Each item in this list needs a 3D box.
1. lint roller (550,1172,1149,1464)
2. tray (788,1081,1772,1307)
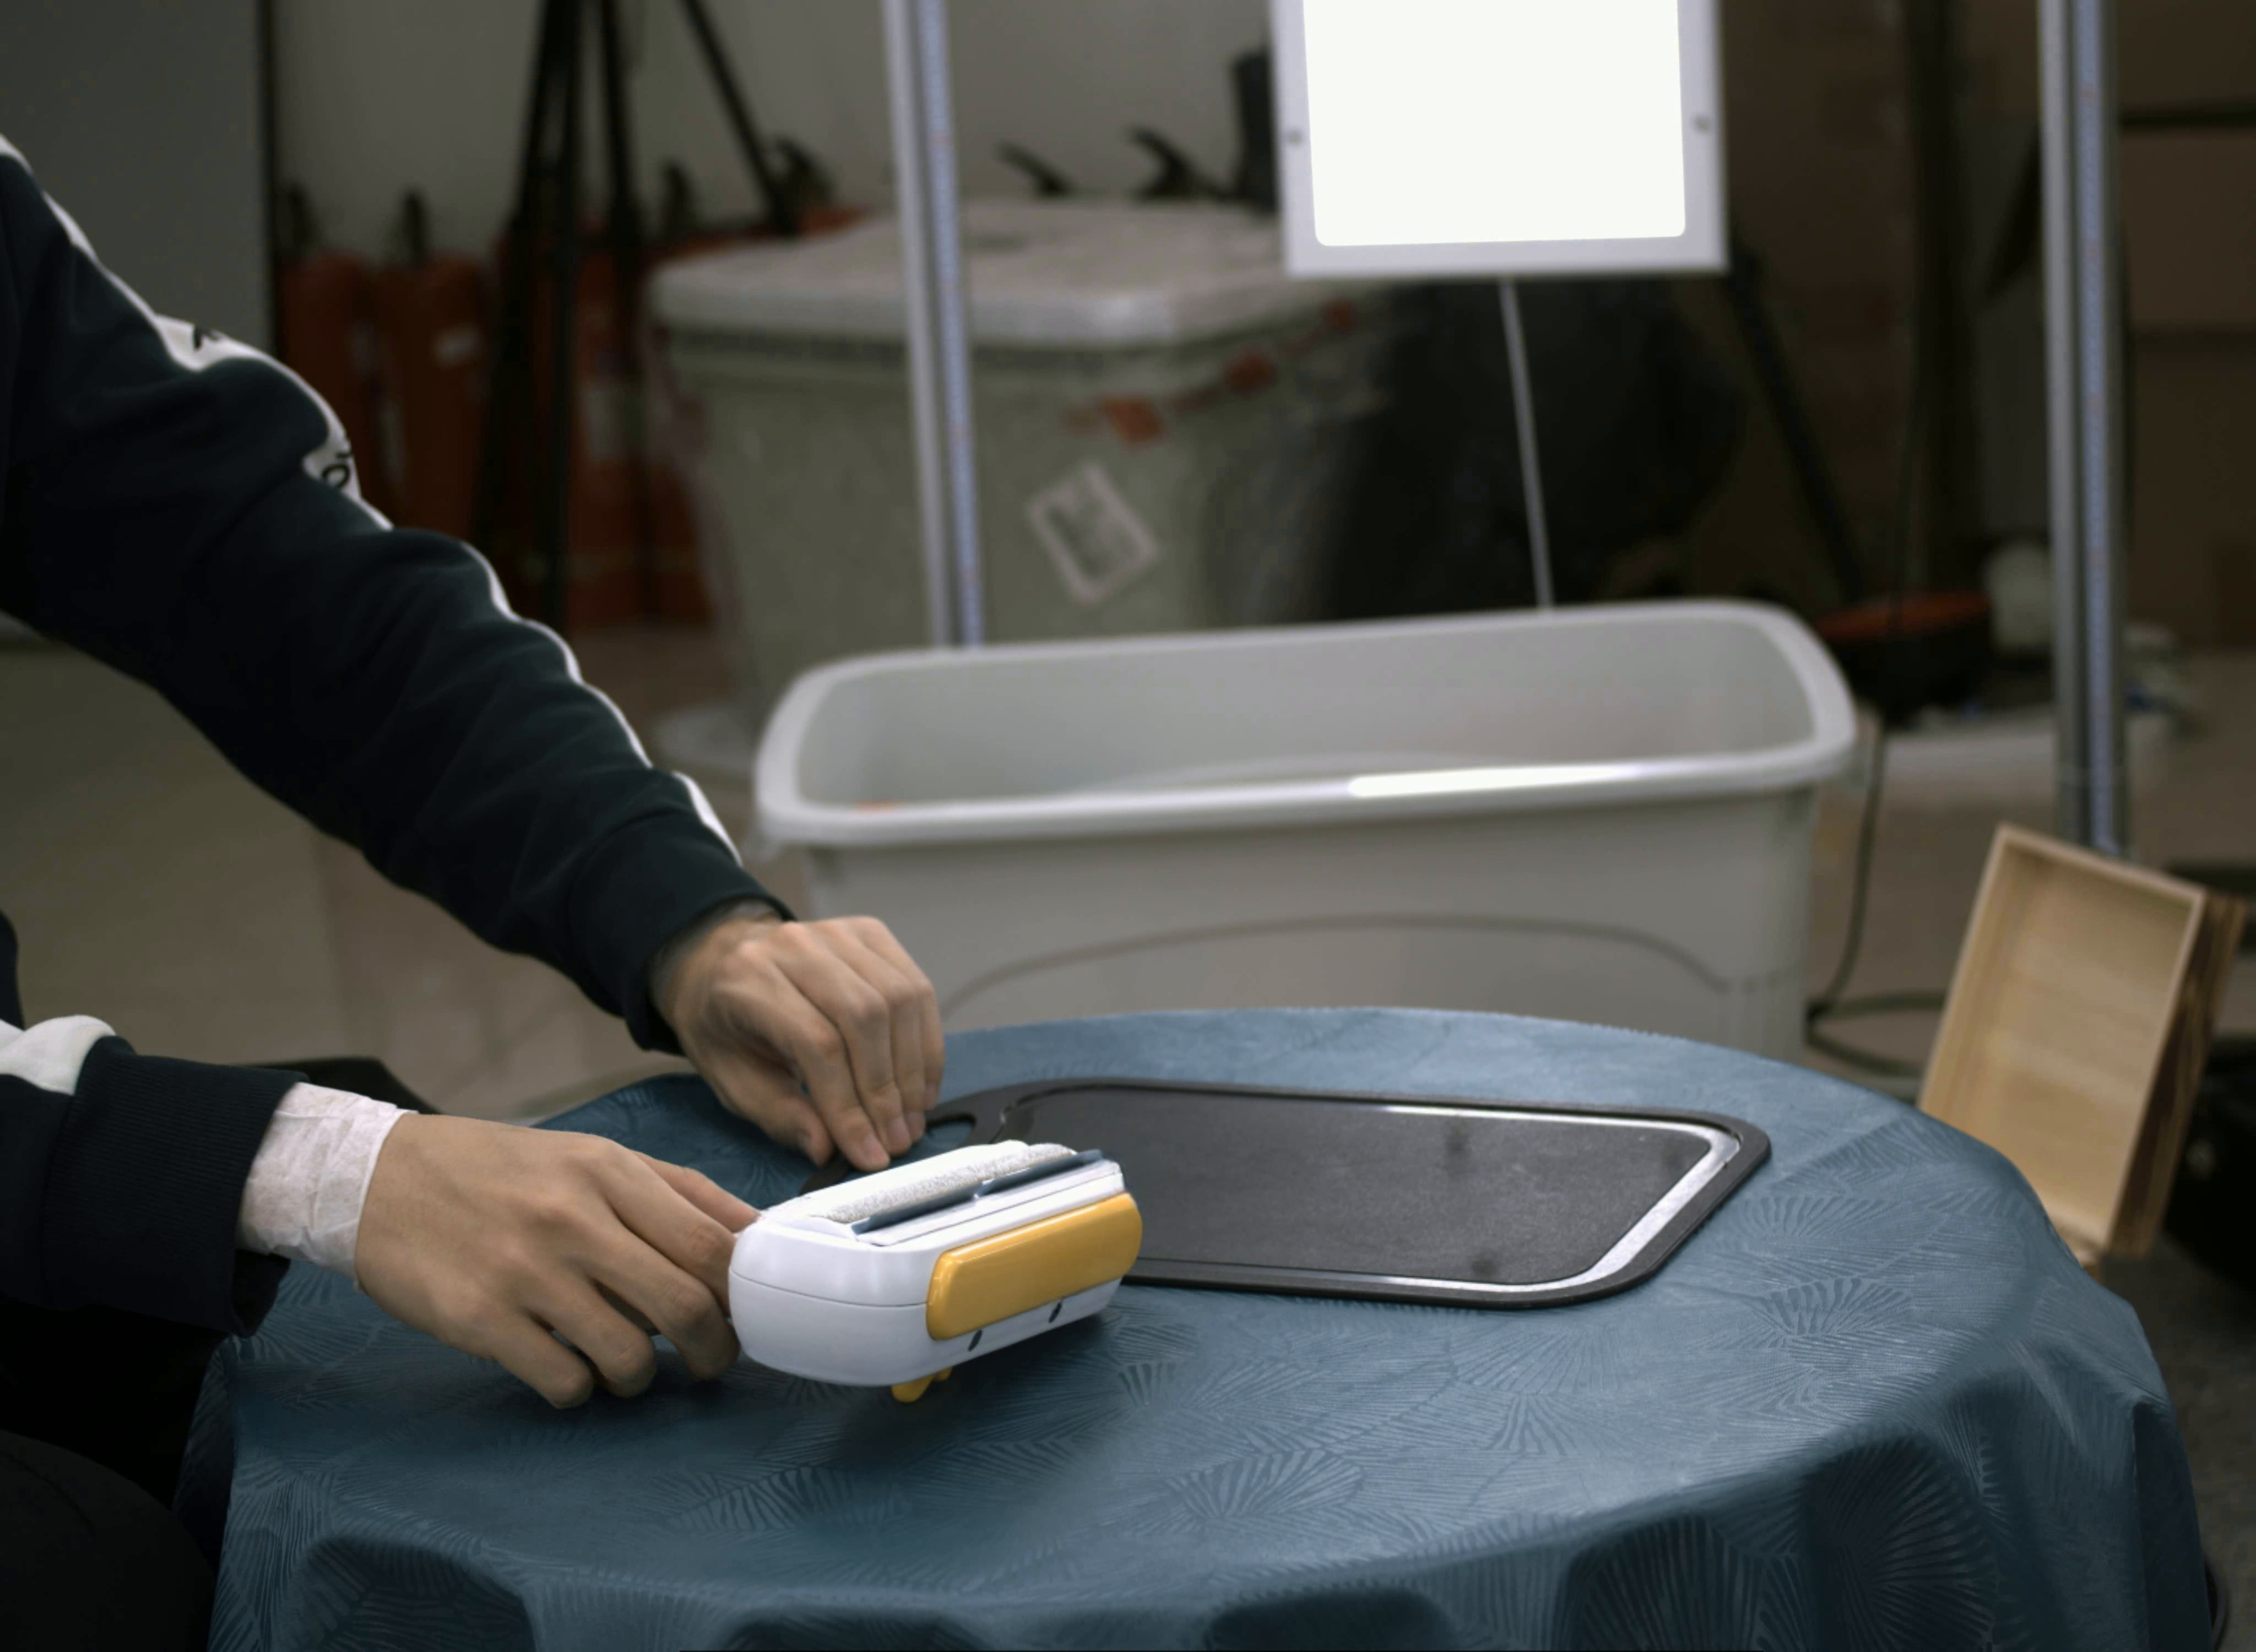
[{"bbox_3d":[-0.107,0.160,1.737,0.196,0.074,0.188,-14,0,33],"label":"lint roller"},{"bbox_3d":[0.046,0.122,1.884,0.331,0.010,0.207,2,15,26],"label":"tray"}]
